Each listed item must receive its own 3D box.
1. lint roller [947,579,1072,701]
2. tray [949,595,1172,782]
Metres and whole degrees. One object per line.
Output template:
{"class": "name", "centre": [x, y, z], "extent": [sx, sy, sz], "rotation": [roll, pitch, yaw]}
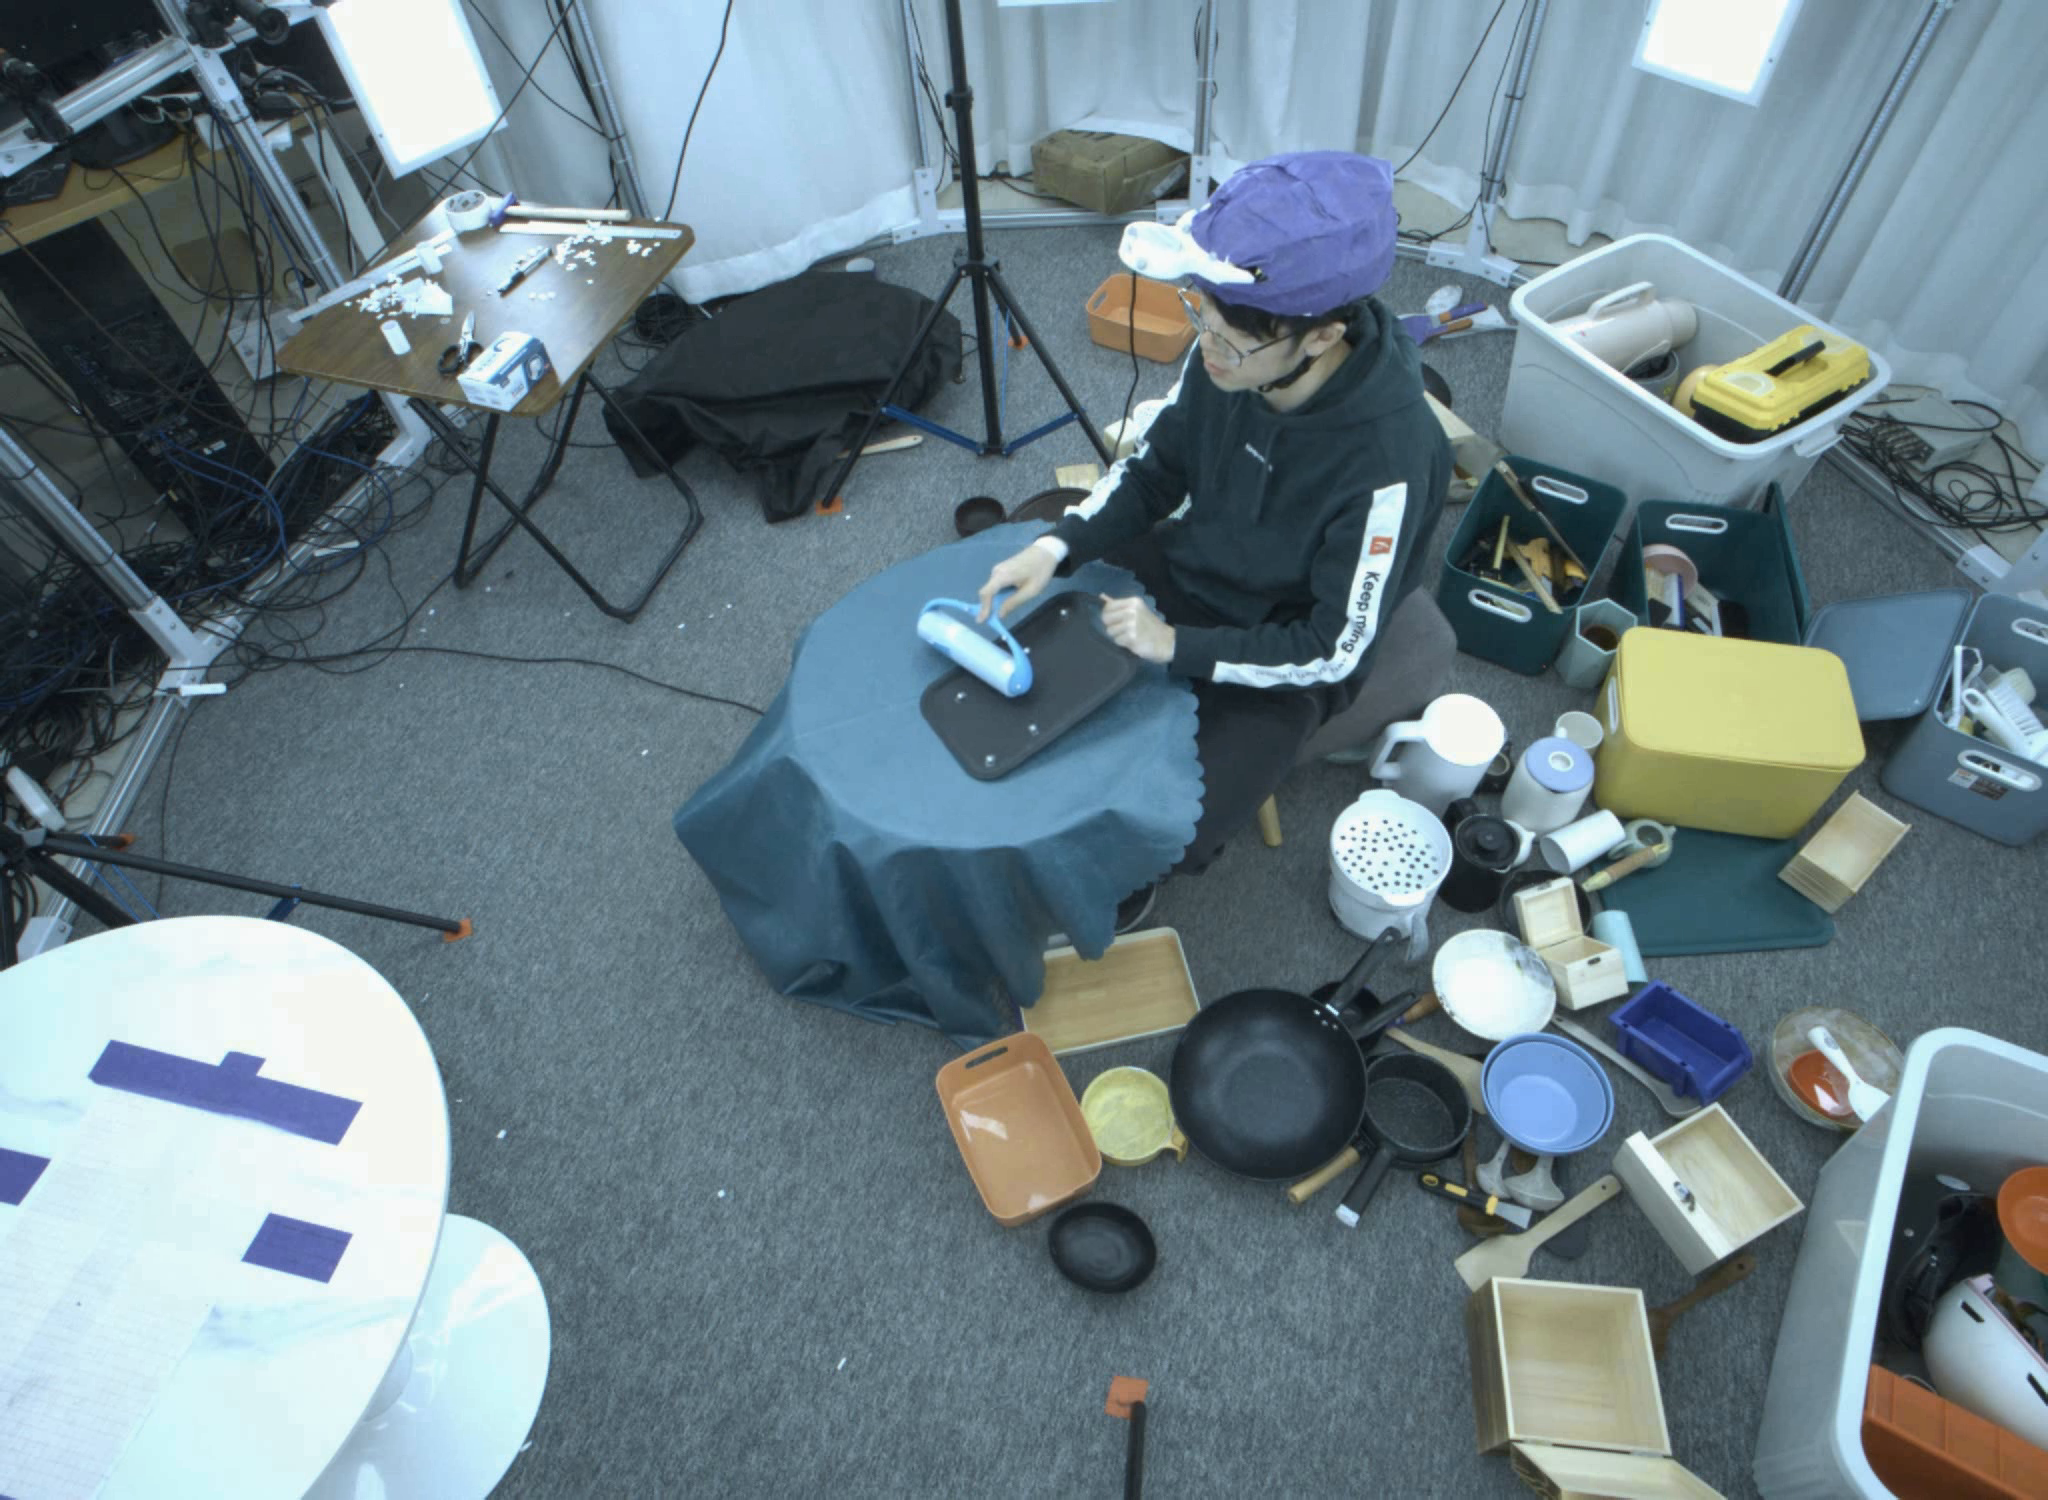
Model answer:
{"class": "lint roller", "centre": [0.001, -0.191, 1.828], "extent": [0.224, 0.069, 0.180], "rotation": [33, 88, 31]}
{"class": "tray", "centre": [0.056, -0.100, 1.805], "extent": [0.326, 0.010, 0.207], "rotation": [-34, 59, -4]}
